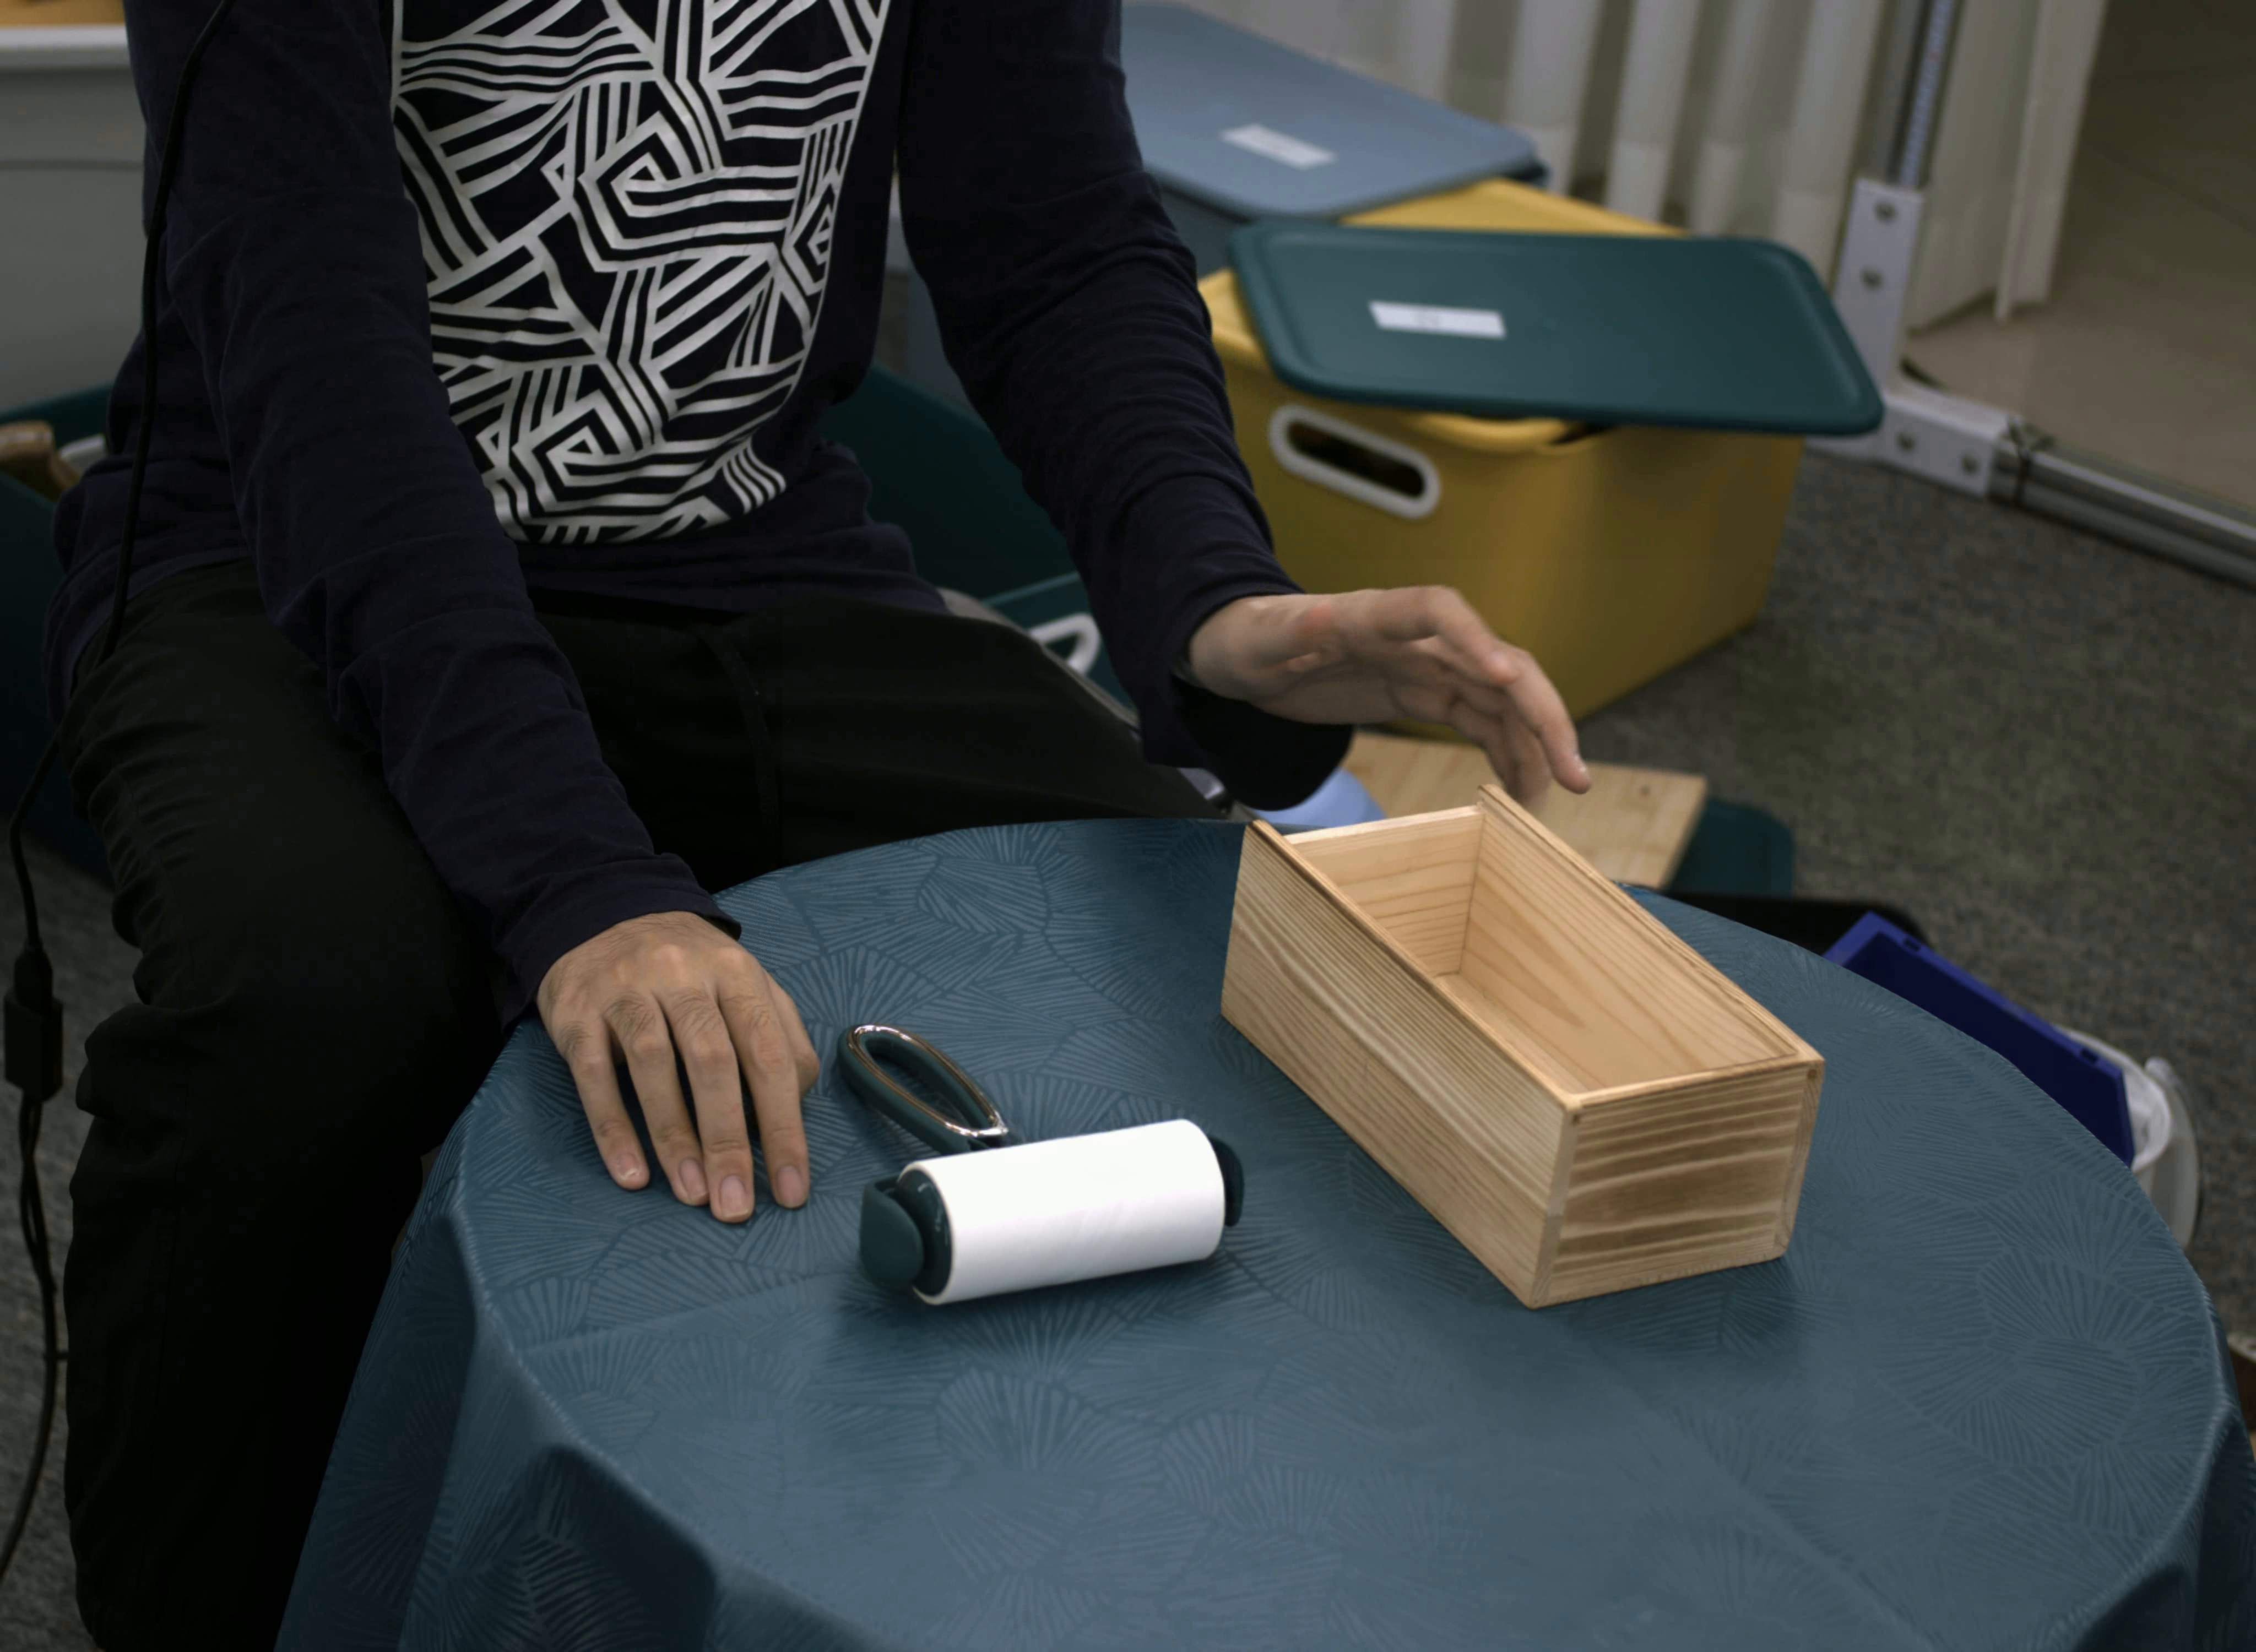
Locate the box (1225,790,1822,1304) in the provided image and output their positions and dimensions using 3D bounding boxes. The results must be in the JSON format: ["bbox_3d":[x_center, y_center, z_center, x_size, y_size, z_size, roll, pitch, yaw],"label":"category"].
[{"bbox_3d":[0.133,0.073,1.848,0.107,0.080,0.213,-10,29,-28],"label":"box"}]

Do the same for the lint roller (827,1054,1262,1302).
[{"bbox_3d":[-0.054,0.099,1.797,0.133,0.048,0.182,-7,27,-27],"label":"lint roller"}]
